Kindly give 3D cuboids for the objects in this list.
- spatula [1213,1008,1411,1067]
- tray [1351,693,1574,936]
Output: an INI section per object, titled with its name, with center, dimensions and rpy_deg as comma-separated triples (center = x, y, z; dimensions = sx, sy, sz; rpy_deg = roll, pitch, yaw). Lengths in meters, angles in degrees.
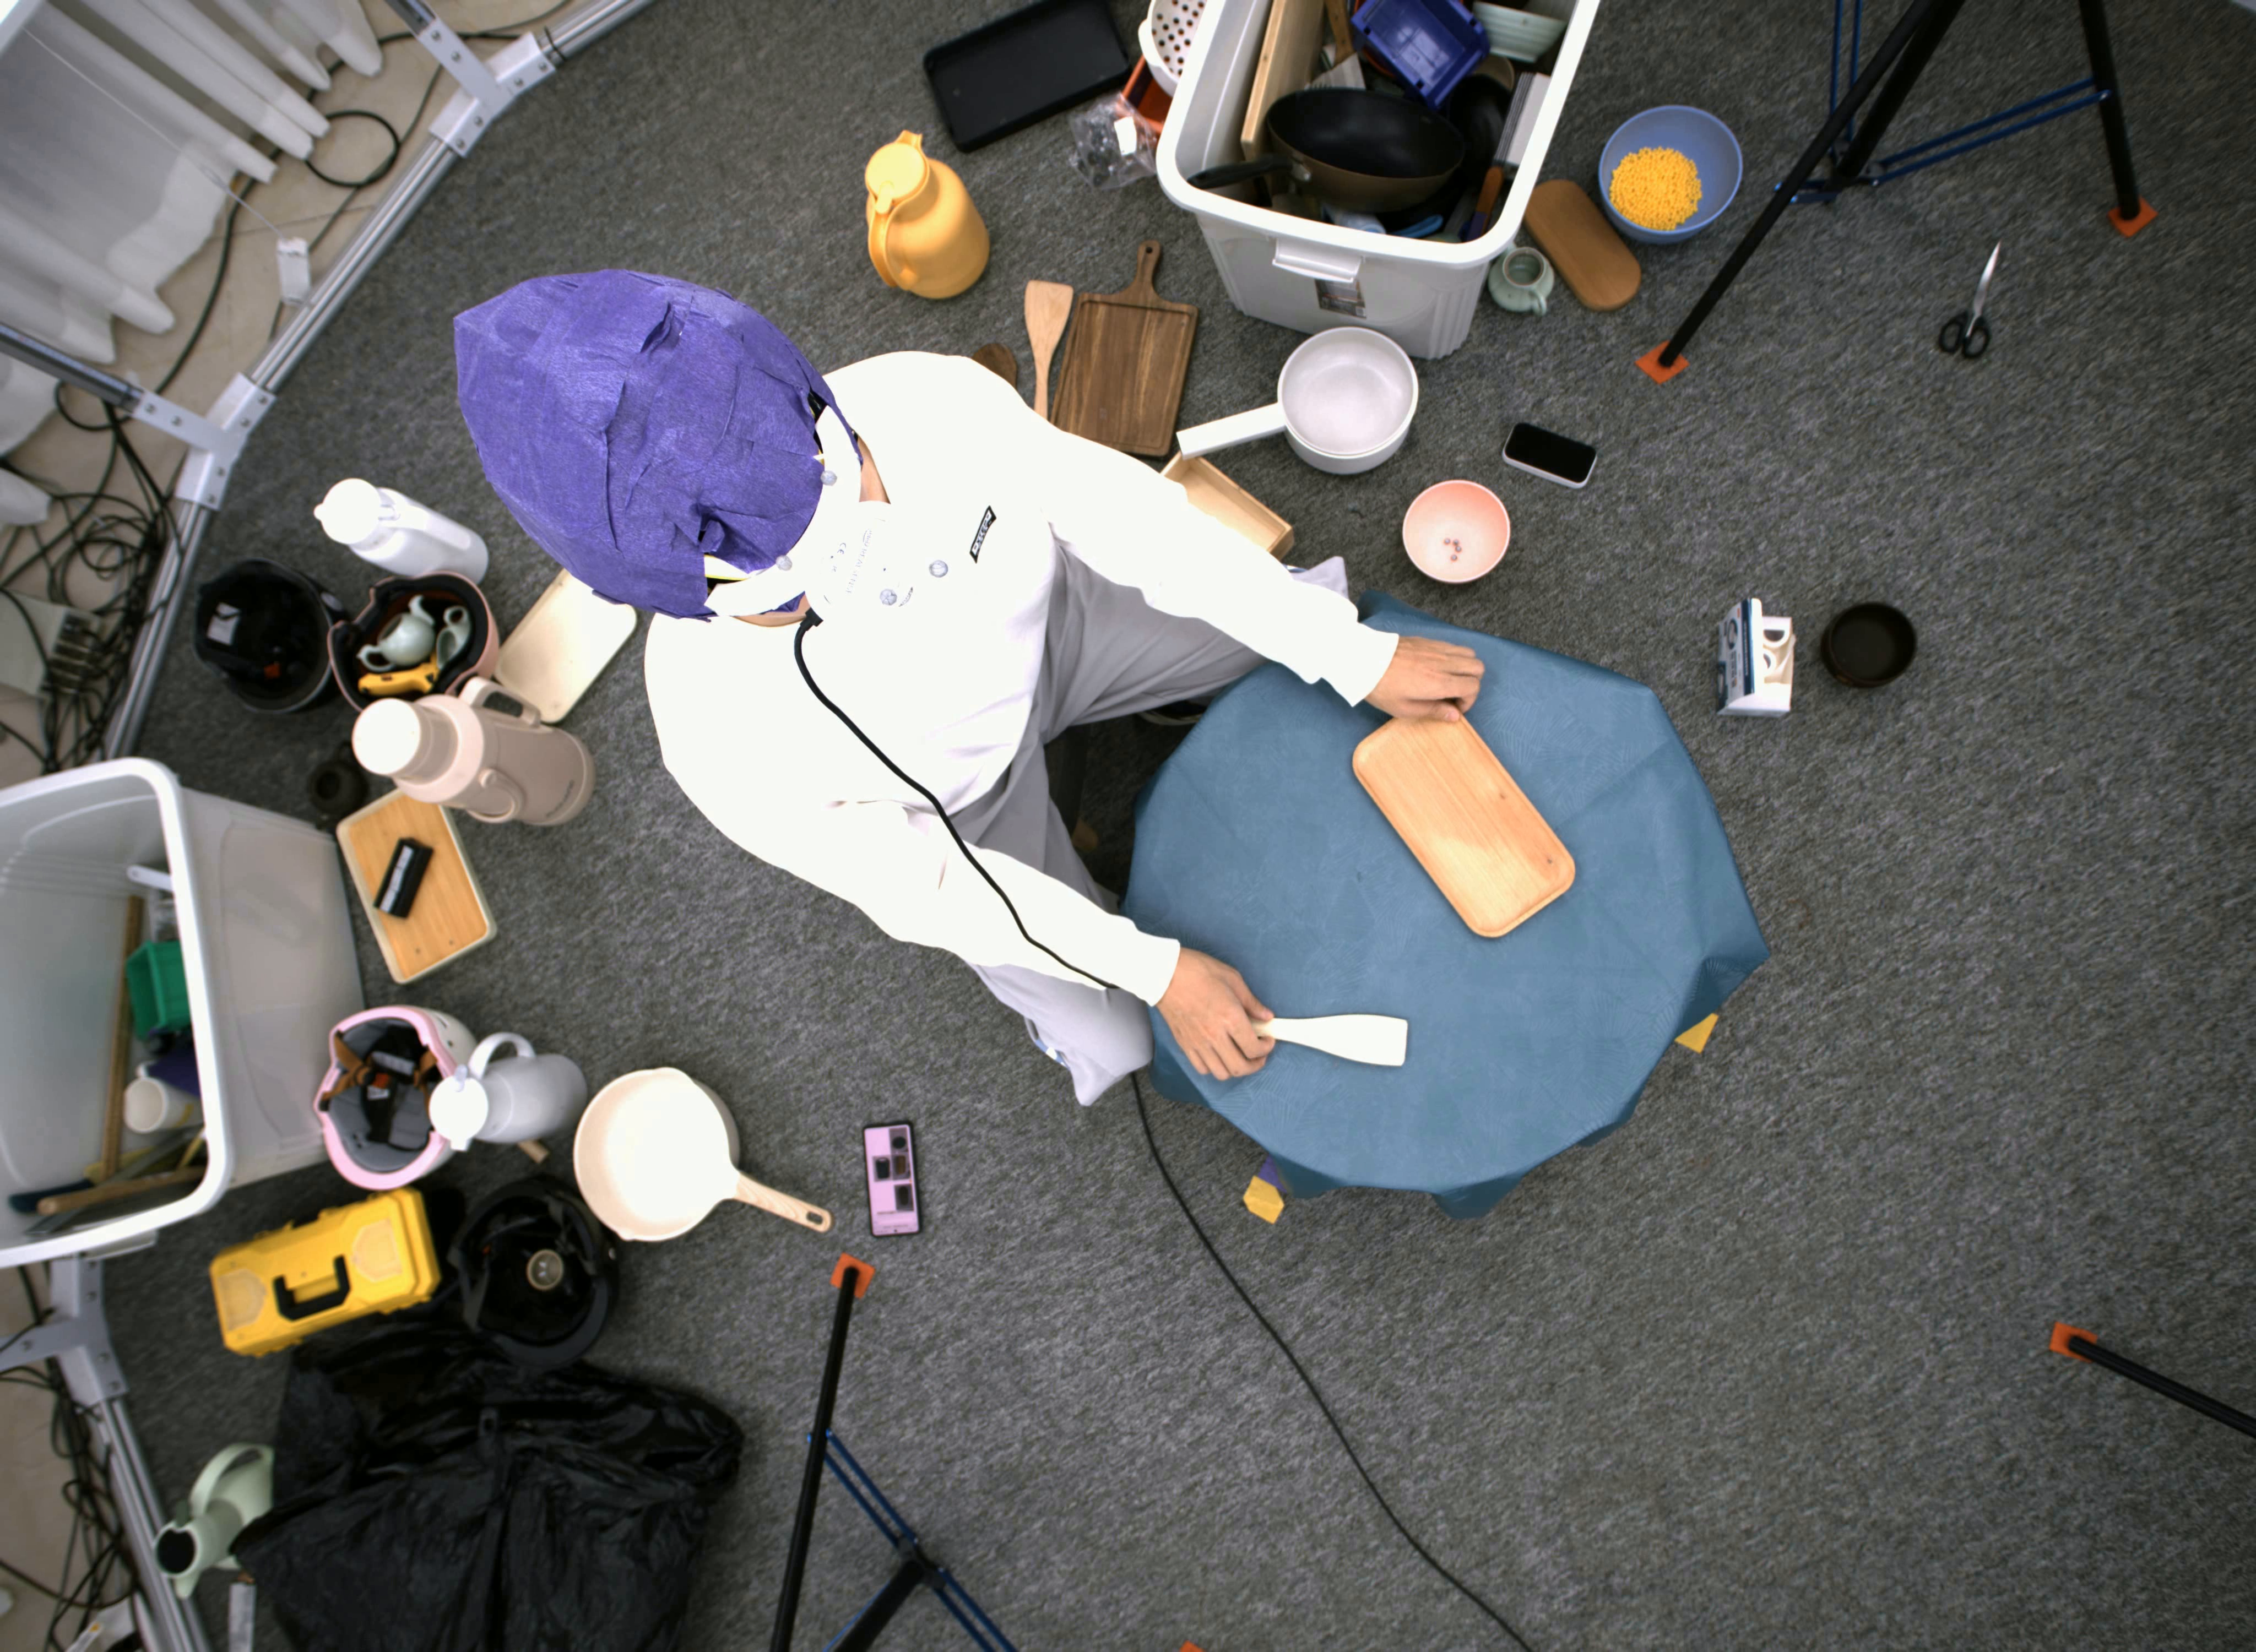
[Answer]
[spatula]
center = 0.192, 0.214, 1.459
dimensions = 0.208, 0.005, 0.050
rpy_deg = 6, 78, 12
[tray]
center = 0.348, -0.014, 1.437
dimensions = 0.131, 0.023, 0.249
rpy_deg = -36, 81, 8
